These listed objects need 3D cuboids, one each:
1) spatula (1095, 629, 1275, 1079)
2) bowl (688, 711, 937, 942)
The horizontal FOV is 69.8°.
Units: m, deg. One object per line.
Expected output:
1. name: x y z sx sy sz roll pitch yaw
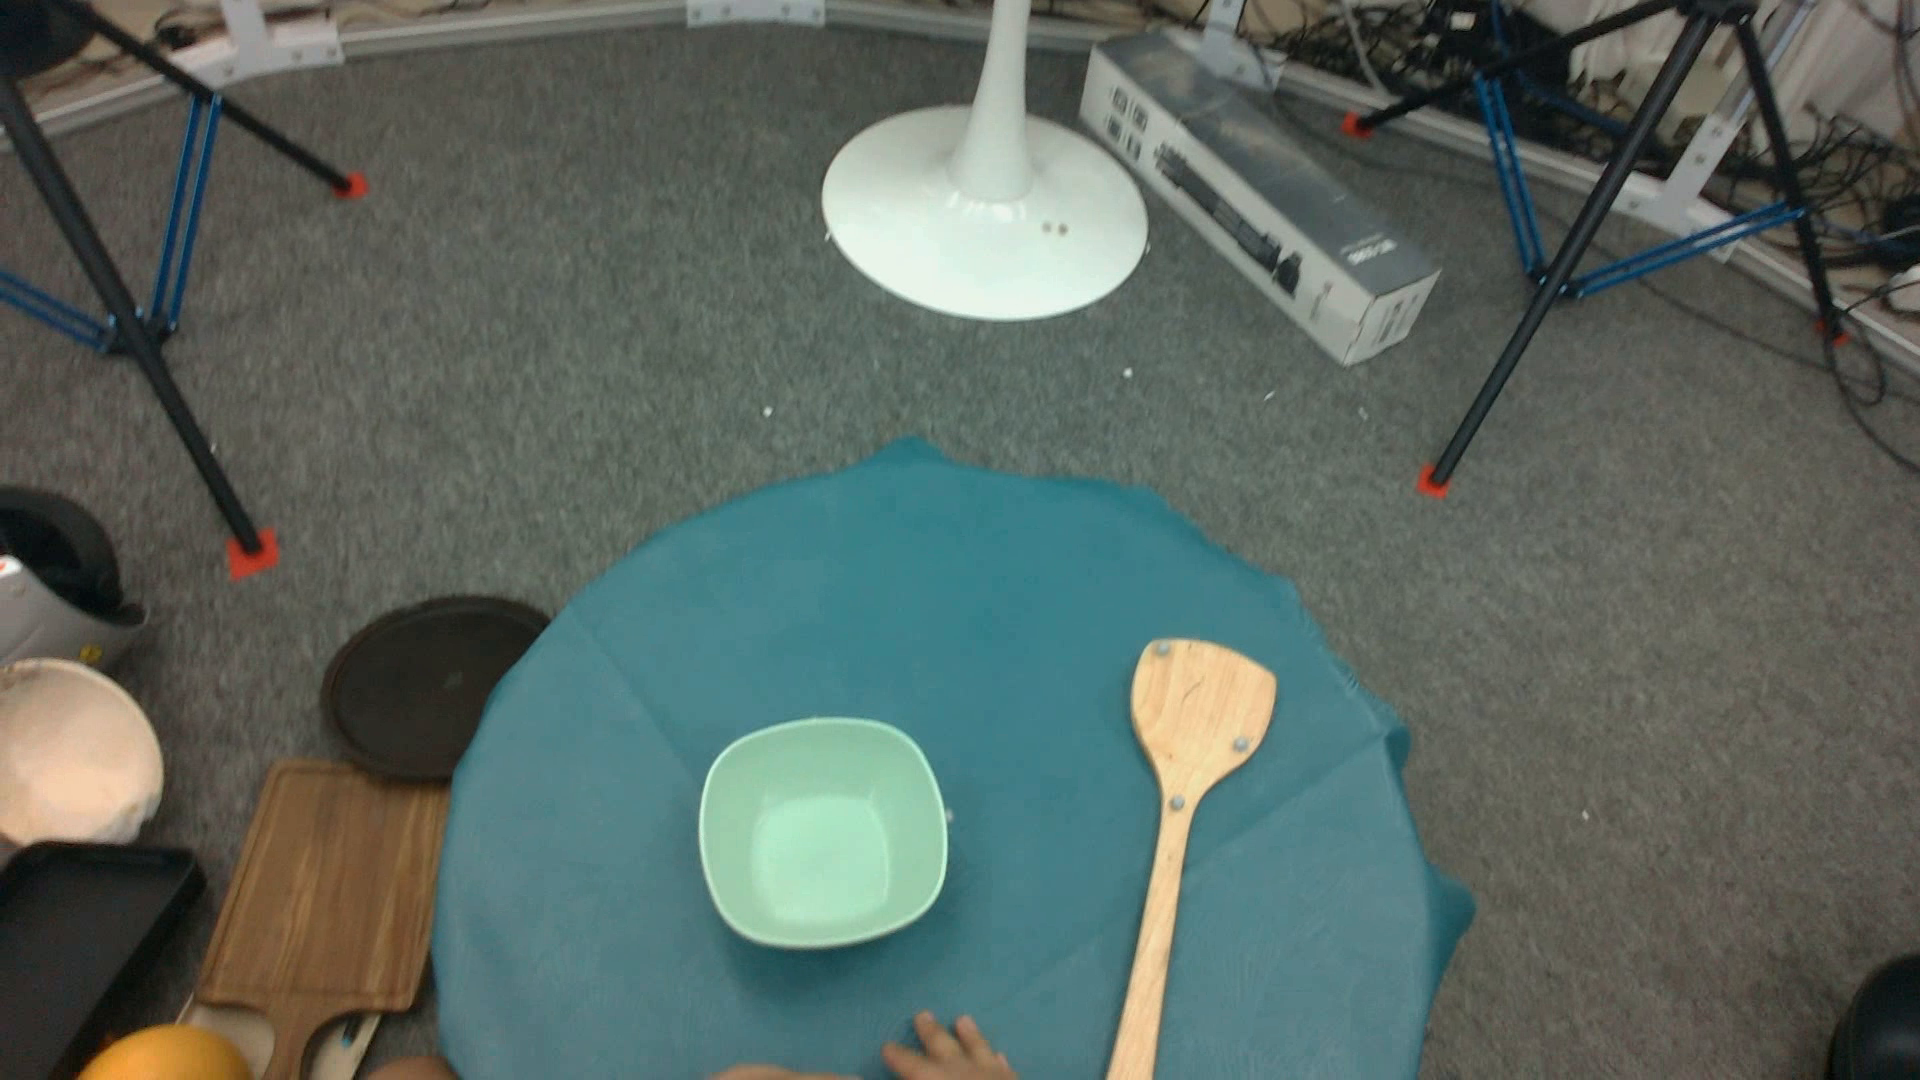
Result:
1. spatula: 0.119 0.216 0.820 0.096 0.018 0.393 15 53 5
2. bowl: -0.086 0.173 0.798 0.151 0.058 0.152 4 51 -5
